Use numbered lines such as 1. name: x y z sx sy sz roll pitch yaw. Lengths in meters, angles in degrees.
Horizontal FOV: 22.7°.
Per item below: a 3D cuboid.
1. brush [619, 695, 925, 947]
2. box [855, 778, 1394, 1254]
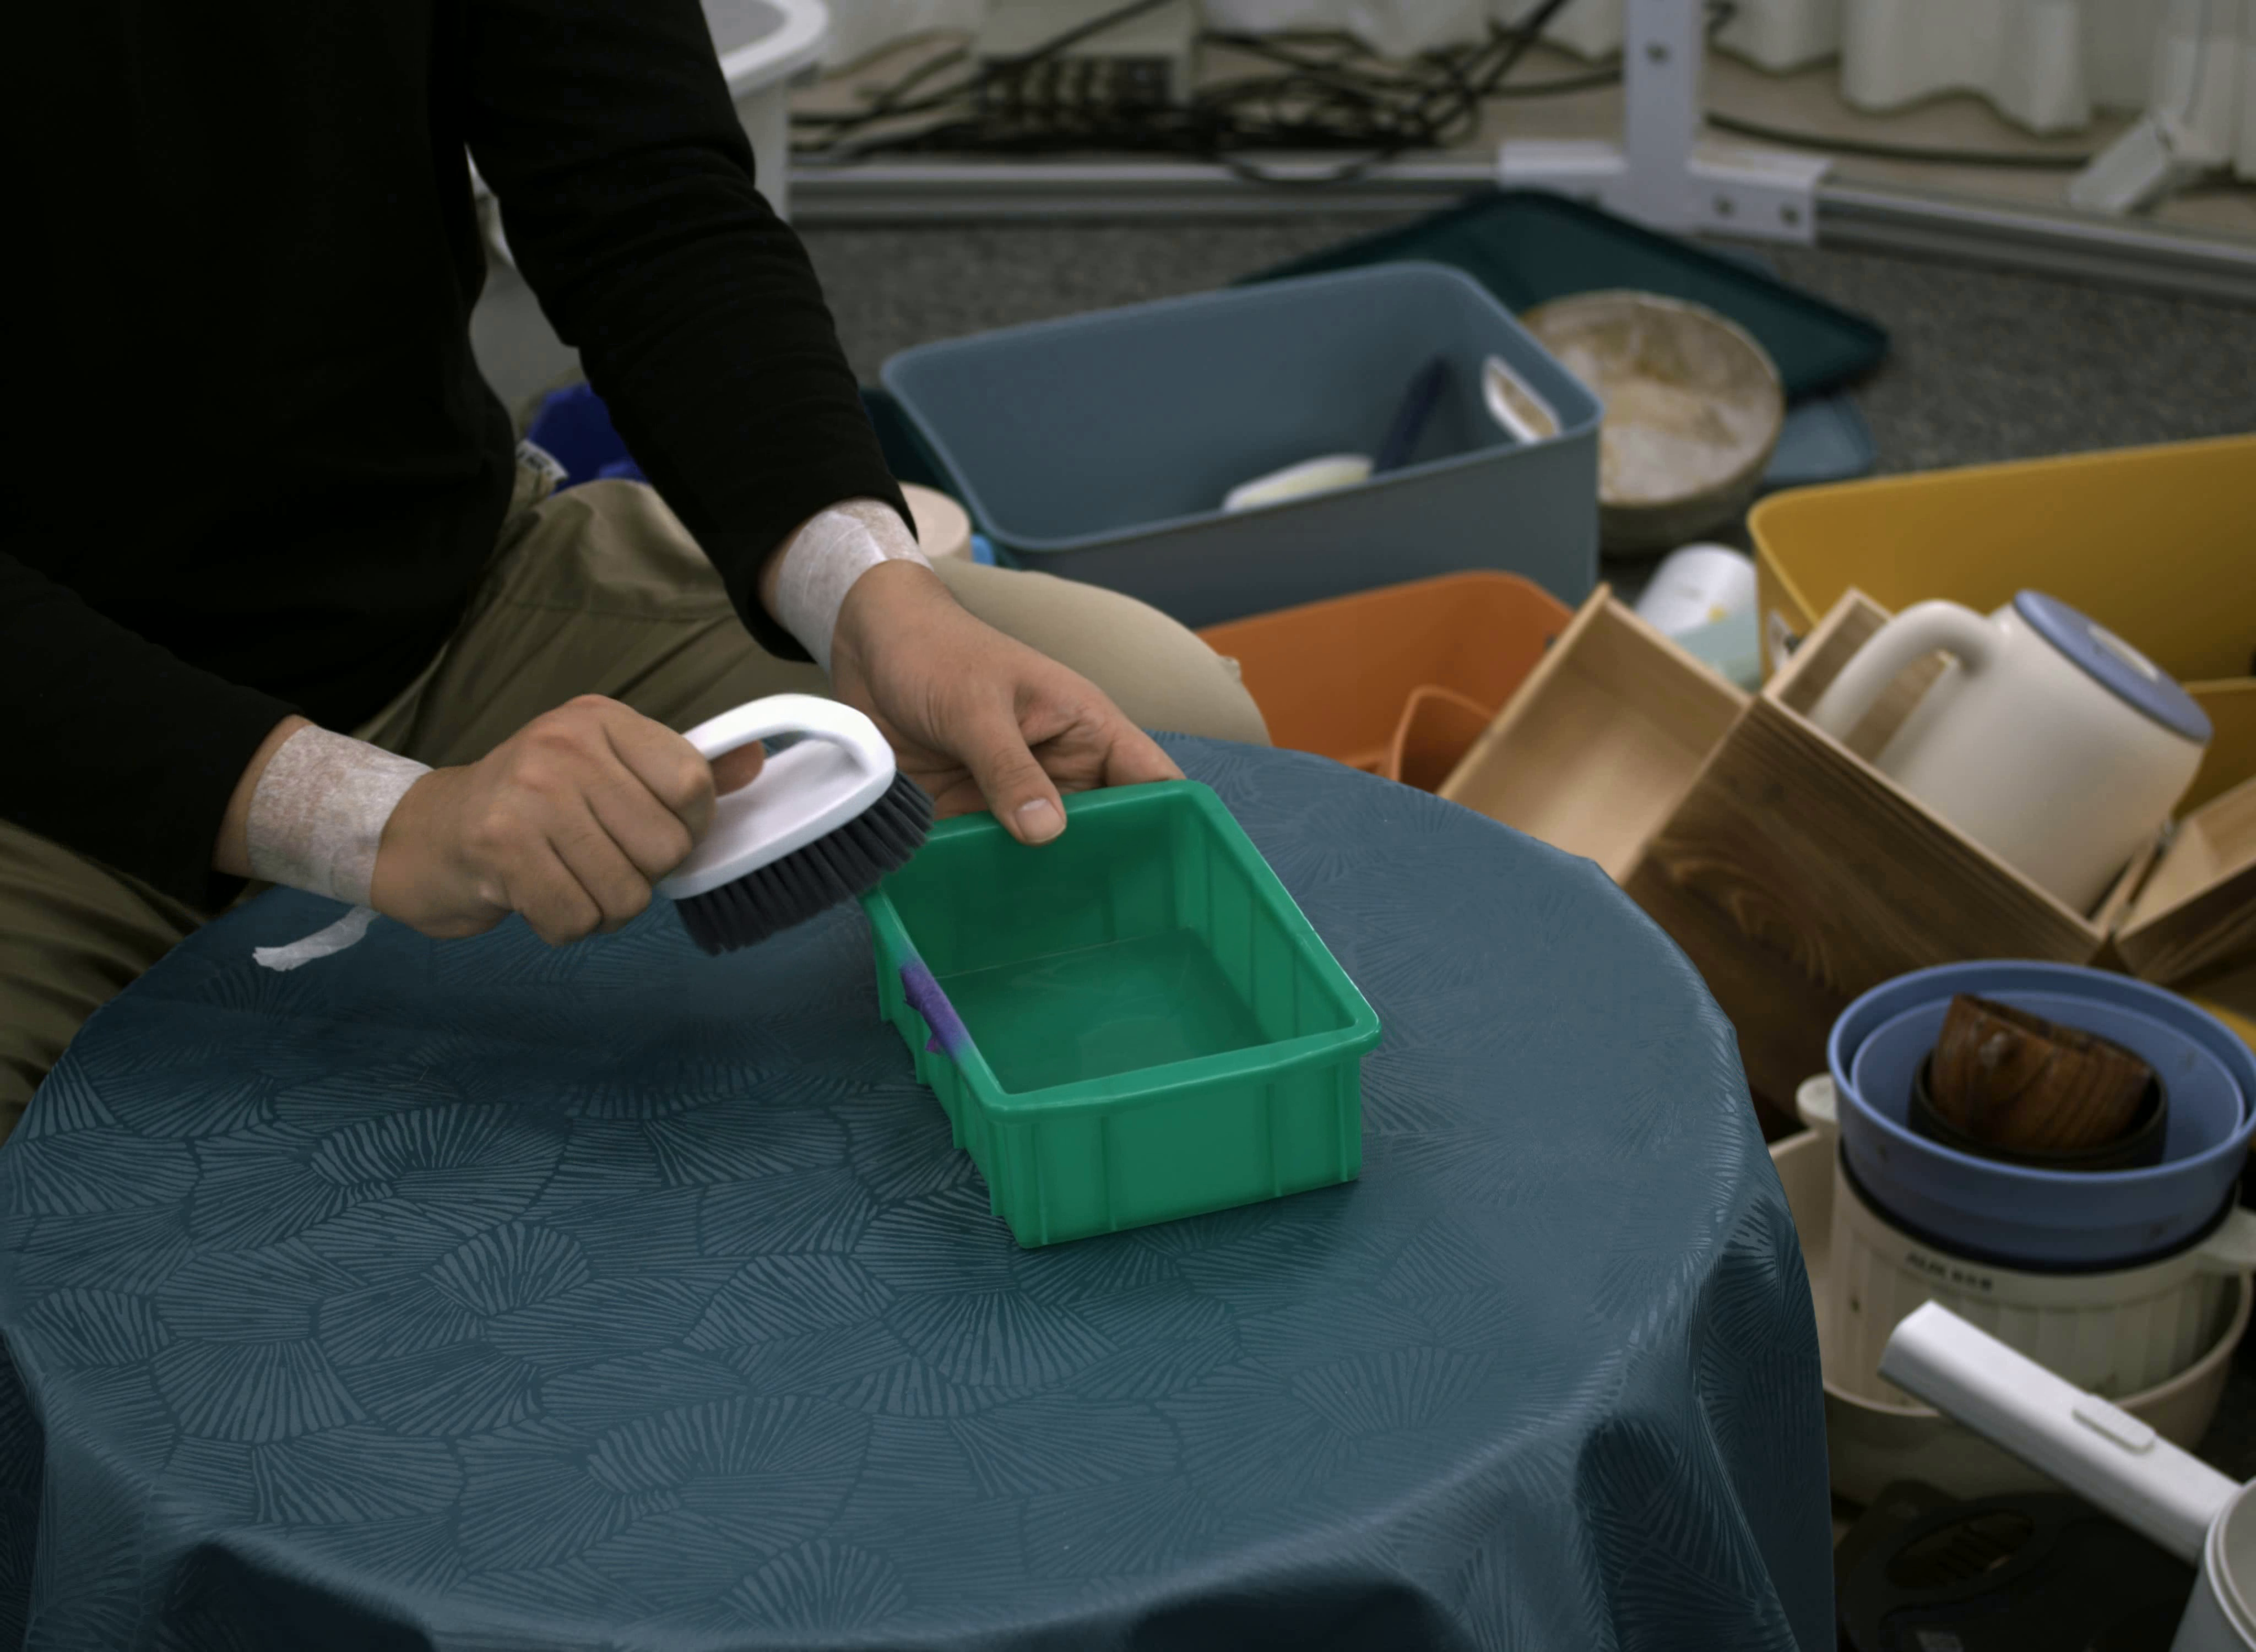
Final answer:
1. brush: -0.129 -0.008 1.929 0.098 0.072 0.051 -25 35 16
2. box: -0.004 0.064 1.905 0.139 0.064 0.212 -13 30 -15
